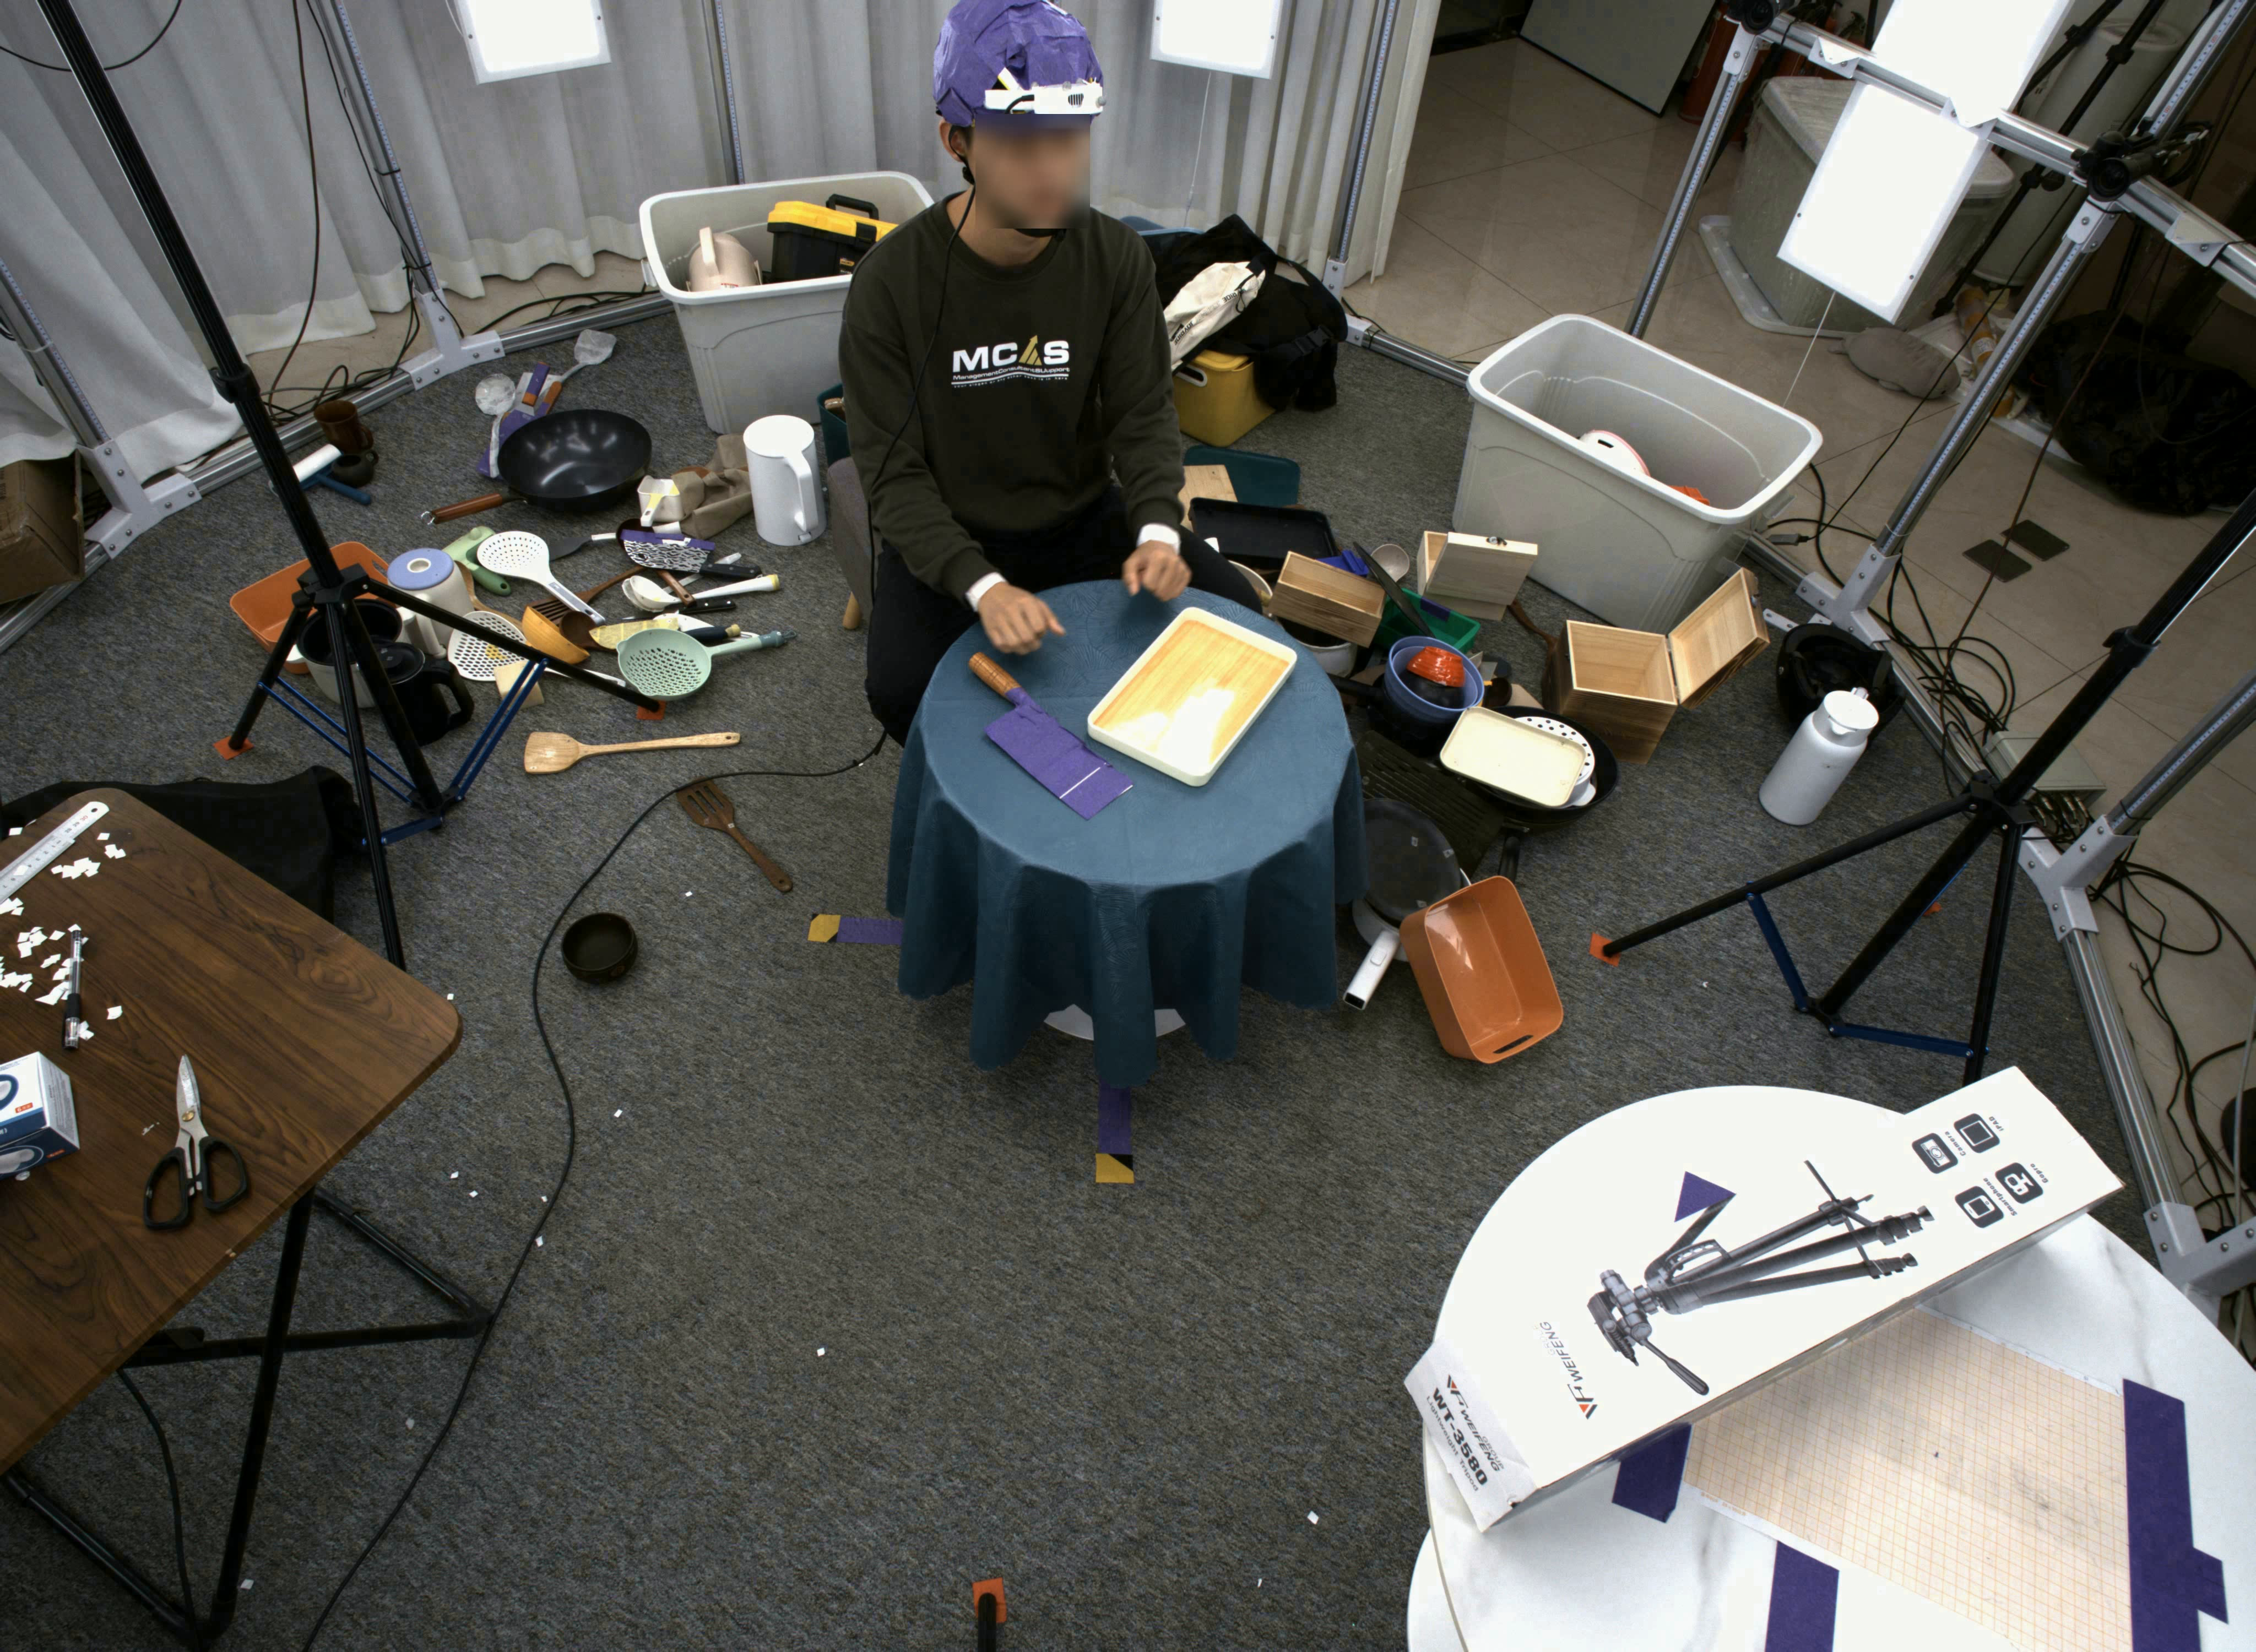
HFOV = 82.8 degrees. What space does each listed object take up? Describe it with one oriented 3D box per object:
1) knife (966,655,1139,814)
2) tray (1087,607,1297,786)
[{"bbox_3d":[-0.129,-0.128,1.752,0.320,0.031,0.105,38,56,25],"label":"knife"},{"bbox_3d":[0.094,-0.191,1.822,0.193,0.027,0.305,26,52,18],"label":"tray"}]
